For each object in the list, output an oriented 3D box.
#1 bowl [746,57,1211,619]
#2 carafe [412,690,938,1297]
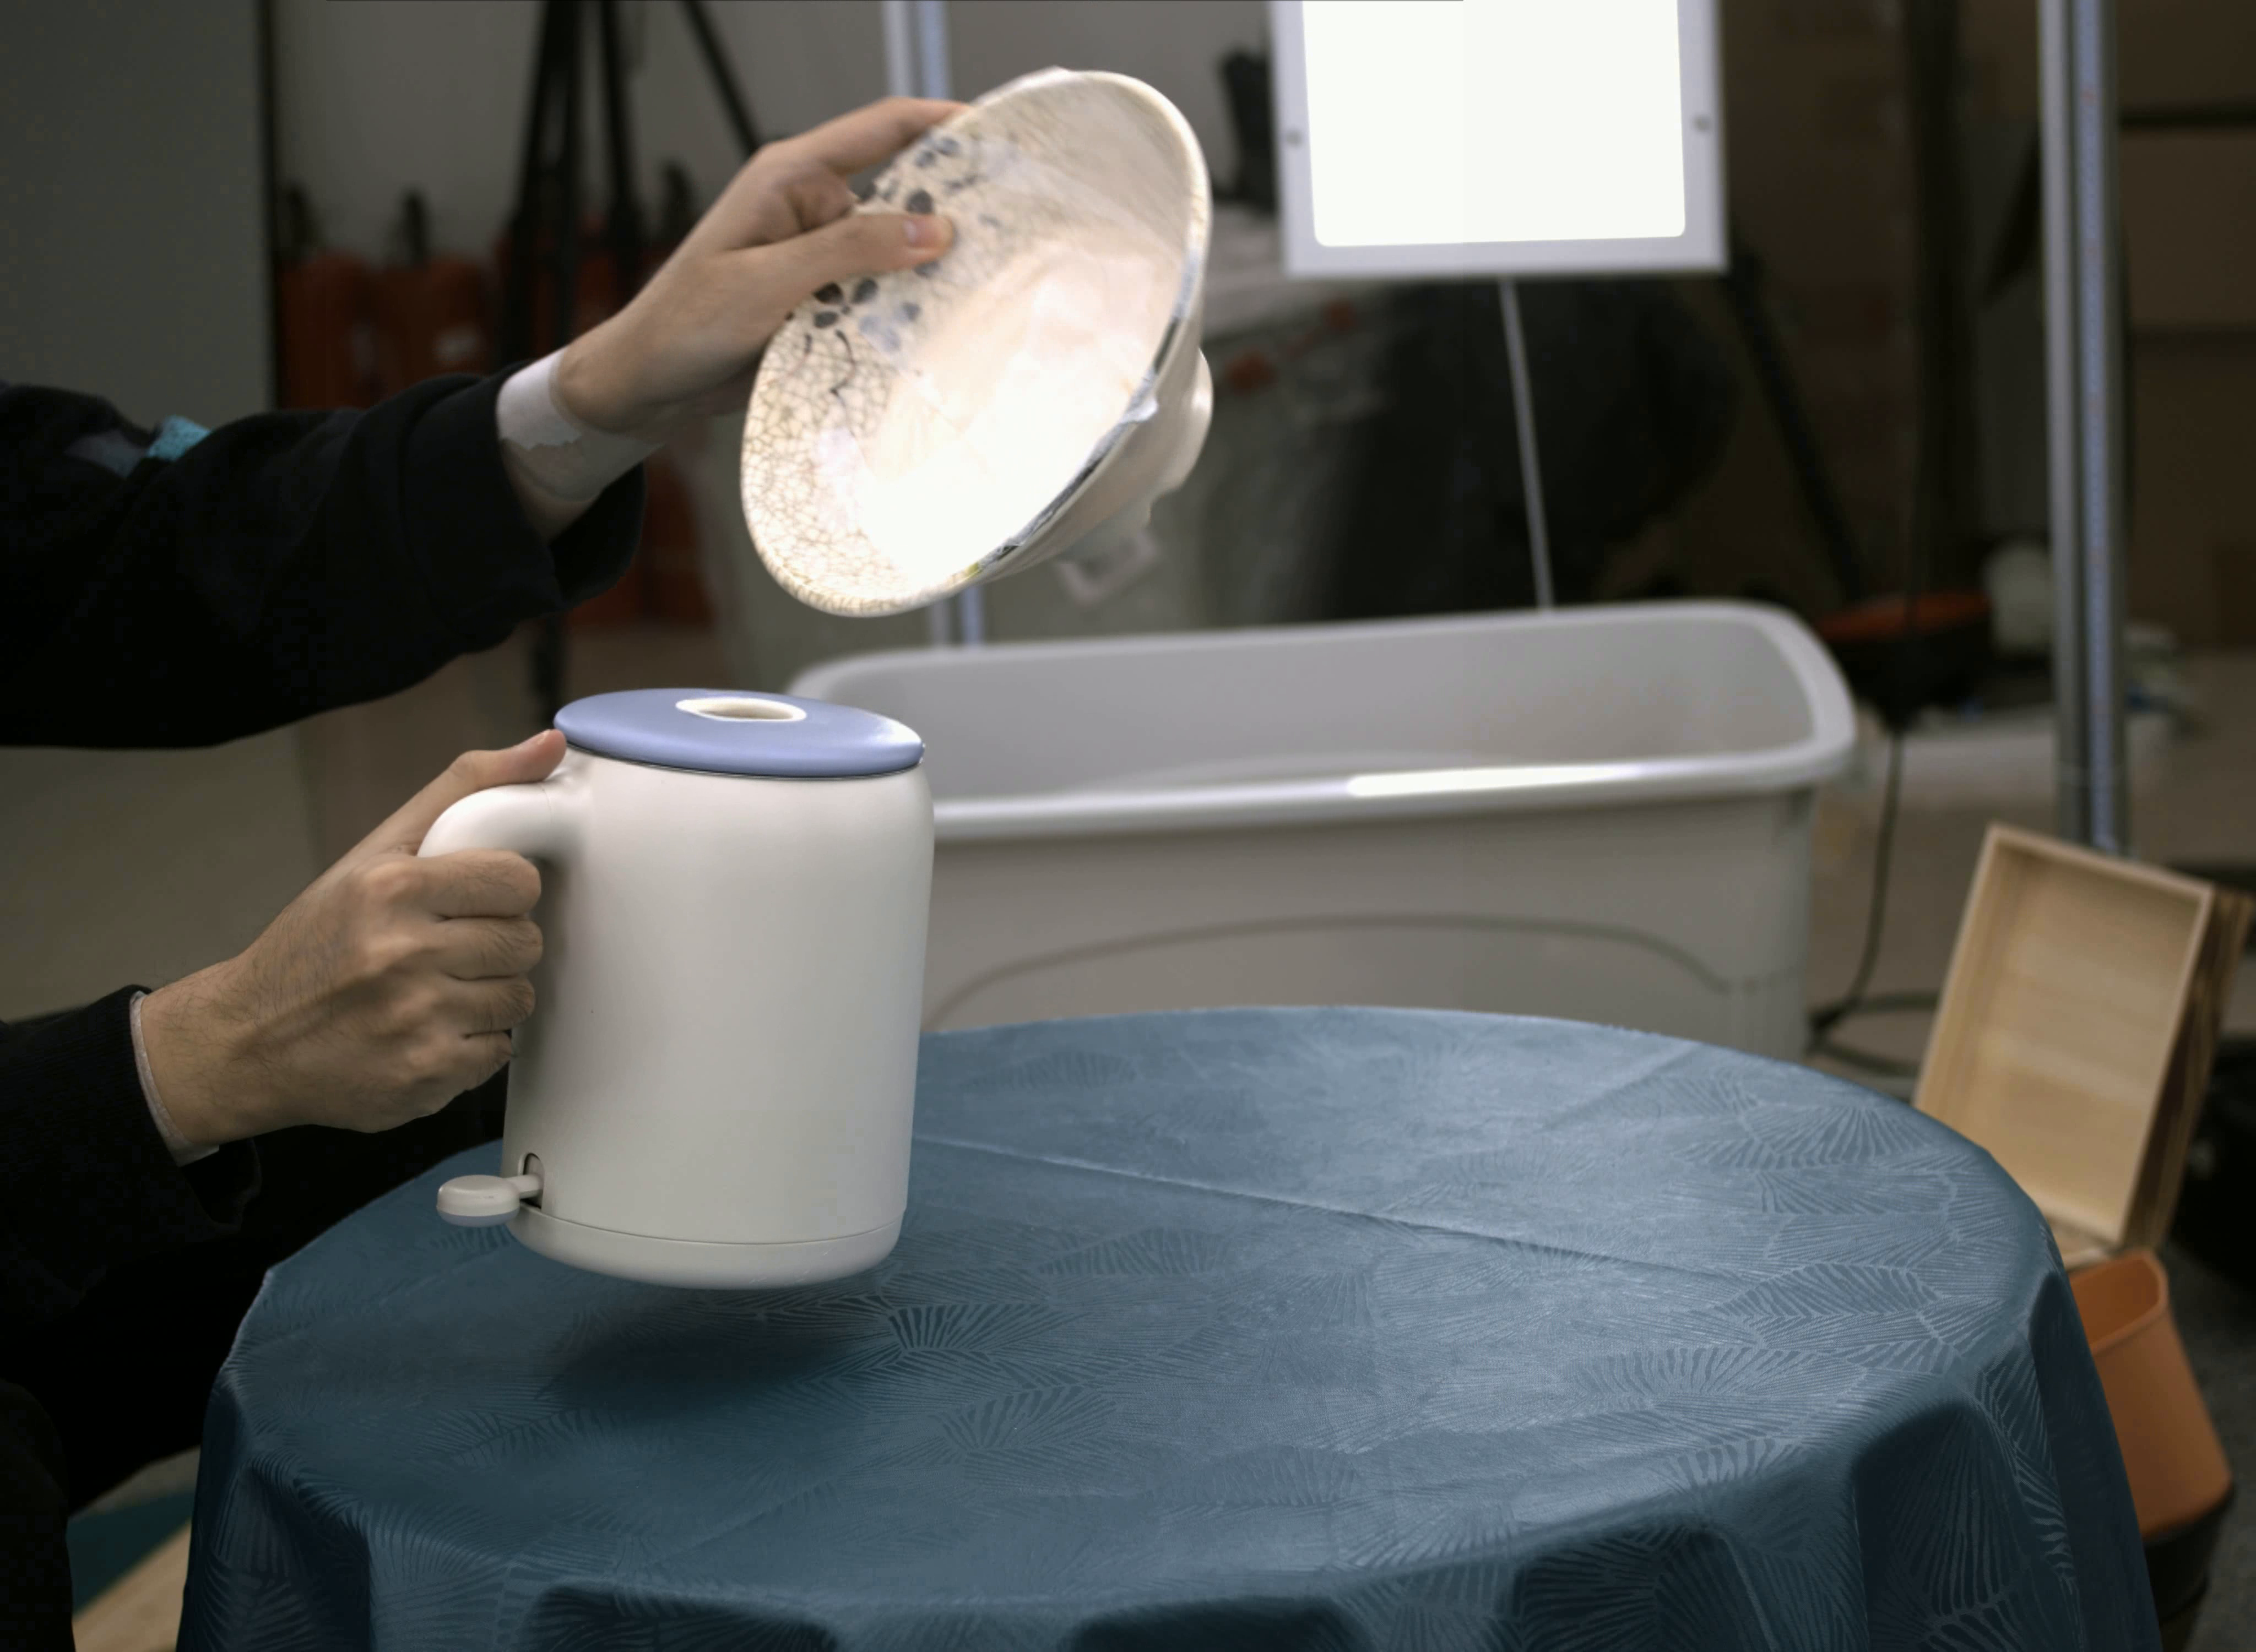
[{"bbox_3d":[-0.029,-0.145,1.804,0.076,0.204,0.208,29,-8,-35],"label":"bowl"},{"bbox_3d":[-0.146,0.055,1.748,0.186,0.183,0.135,-8,13,-38],"label":"carafe"}]
